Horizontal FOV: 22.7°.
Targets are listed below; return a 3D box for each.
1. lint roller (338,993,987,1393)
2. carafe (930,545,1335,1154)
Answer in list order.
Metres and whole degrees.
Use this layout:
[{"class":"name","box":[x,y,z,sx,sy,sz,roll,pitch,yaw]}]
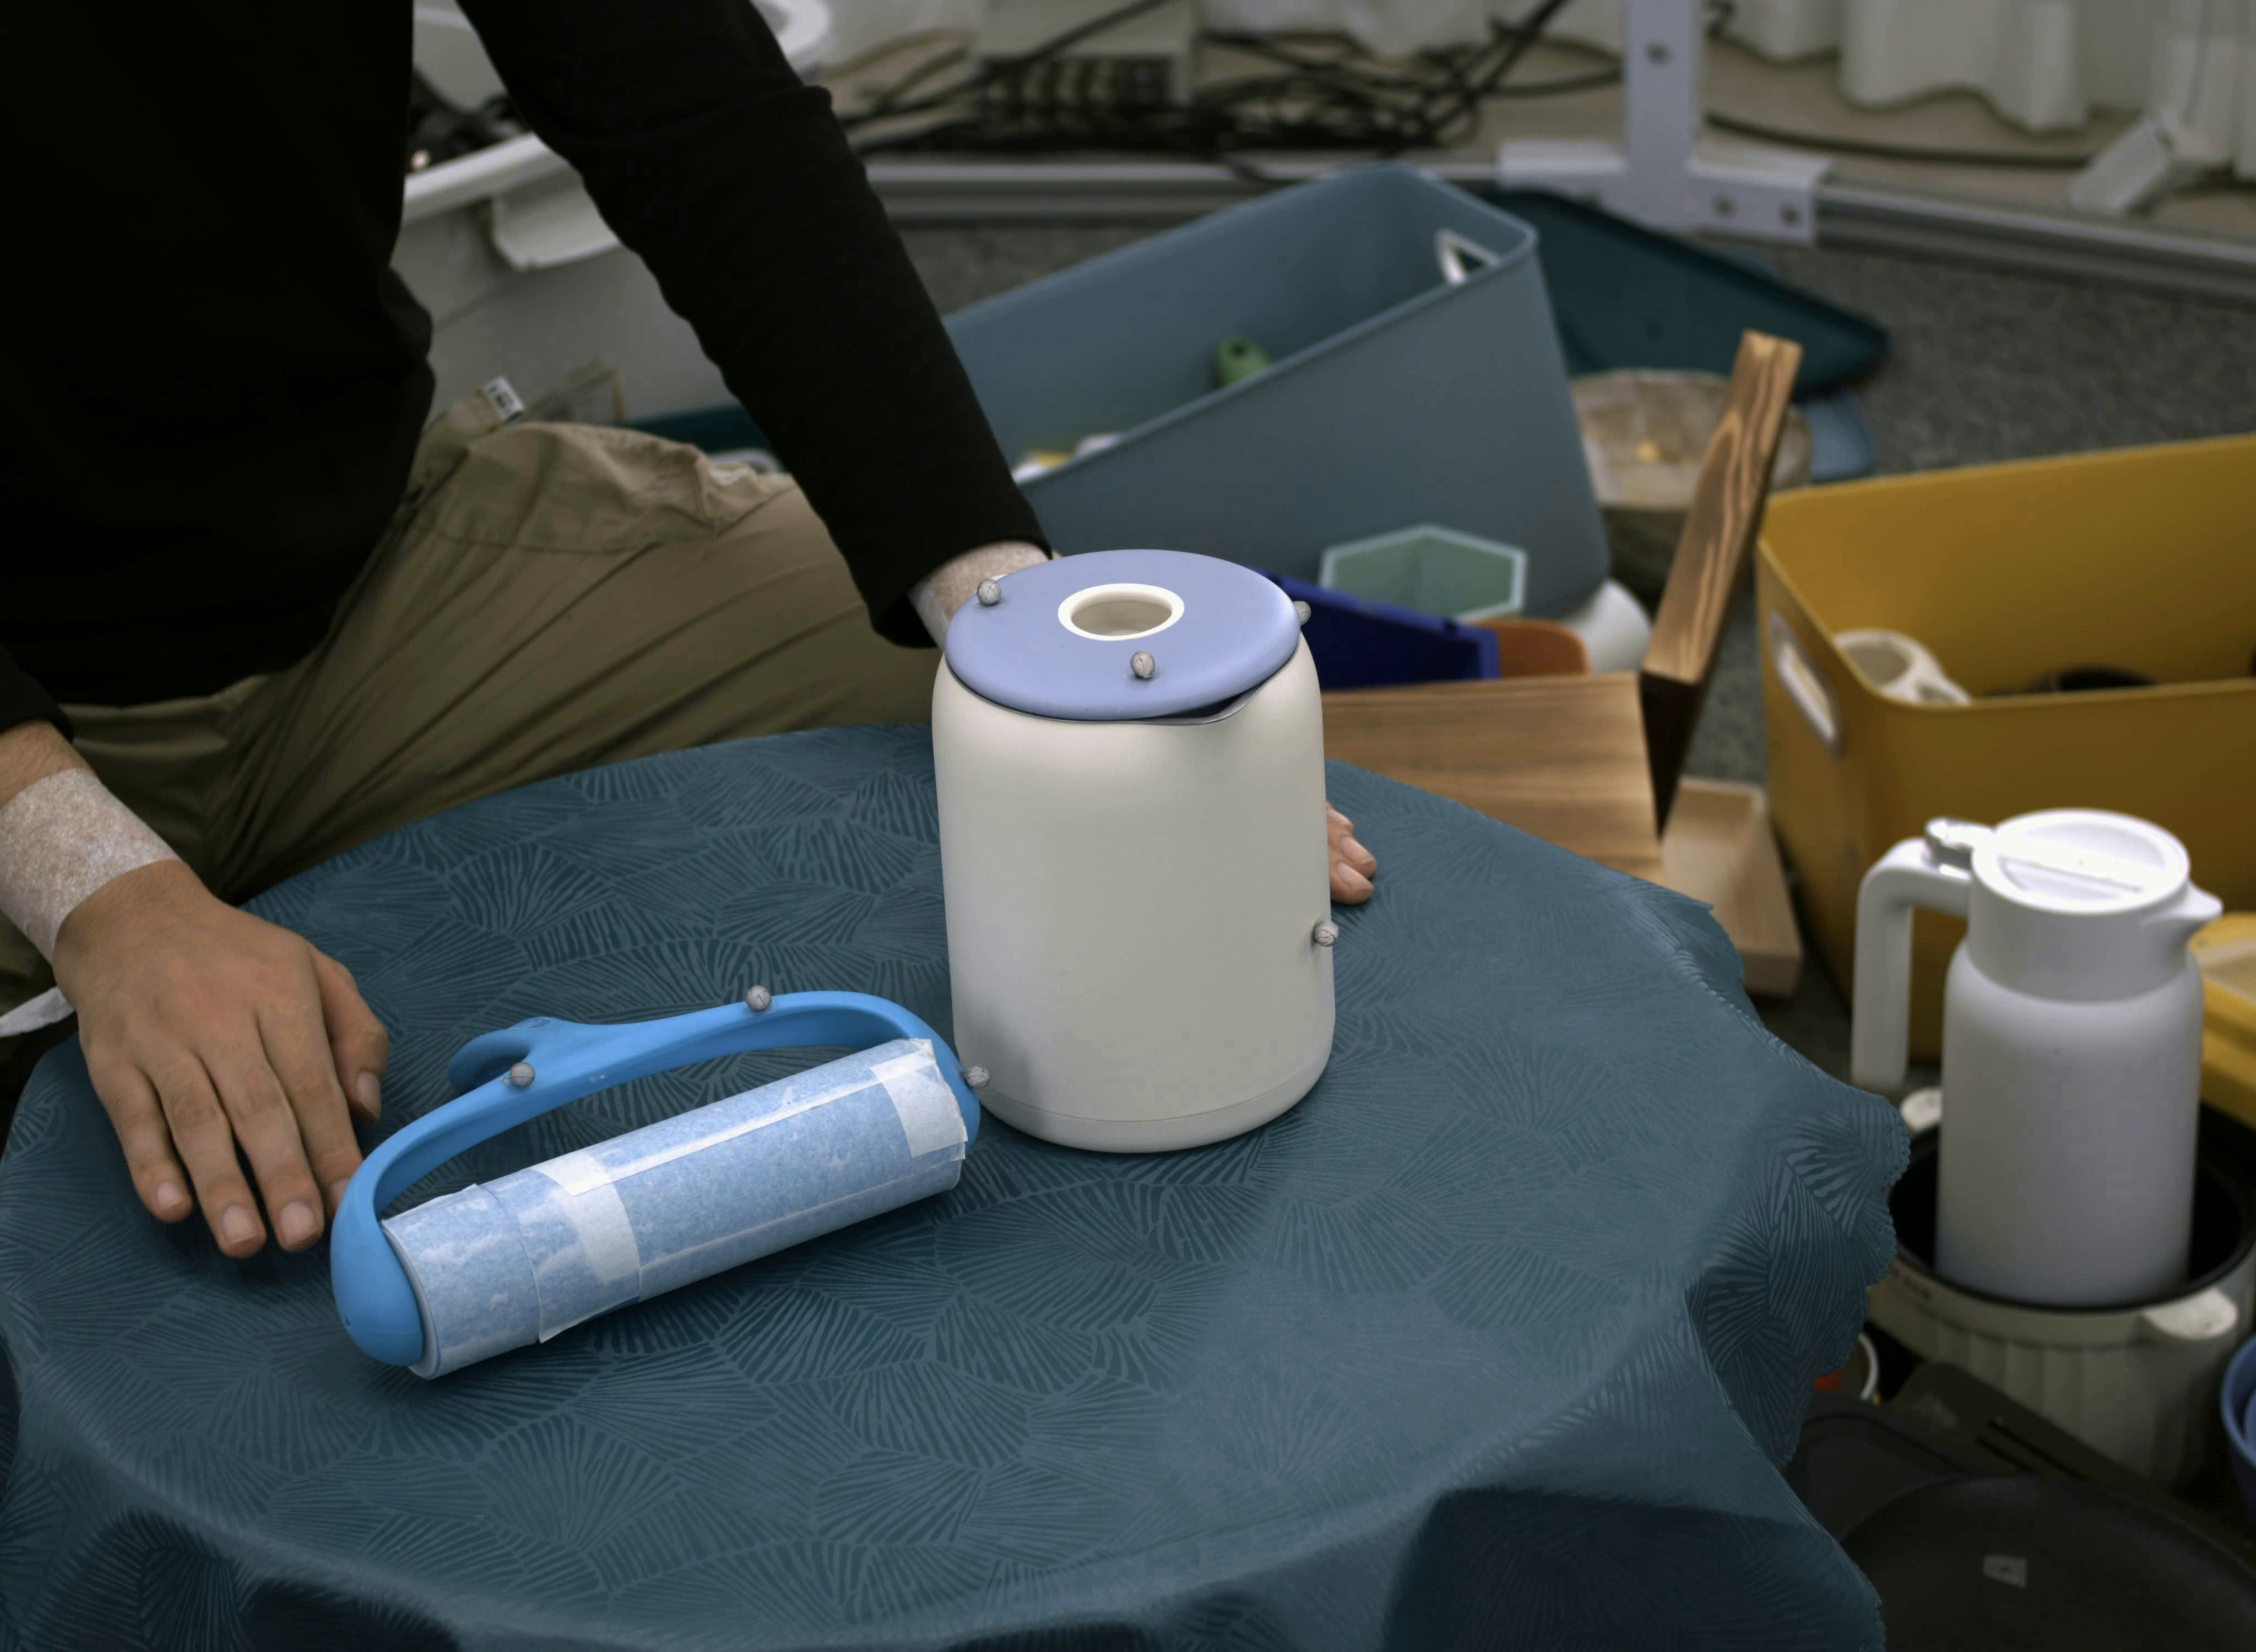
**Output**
[{"class":"lint roller","box":[-0.180,0.099,1.860,0.231,0.067,0.181,-22,38,-27]},{"class":"carafe","box":[-0.010,-0.002,1.916,0.133,0.181,0.192,-16,27,-25]}]
